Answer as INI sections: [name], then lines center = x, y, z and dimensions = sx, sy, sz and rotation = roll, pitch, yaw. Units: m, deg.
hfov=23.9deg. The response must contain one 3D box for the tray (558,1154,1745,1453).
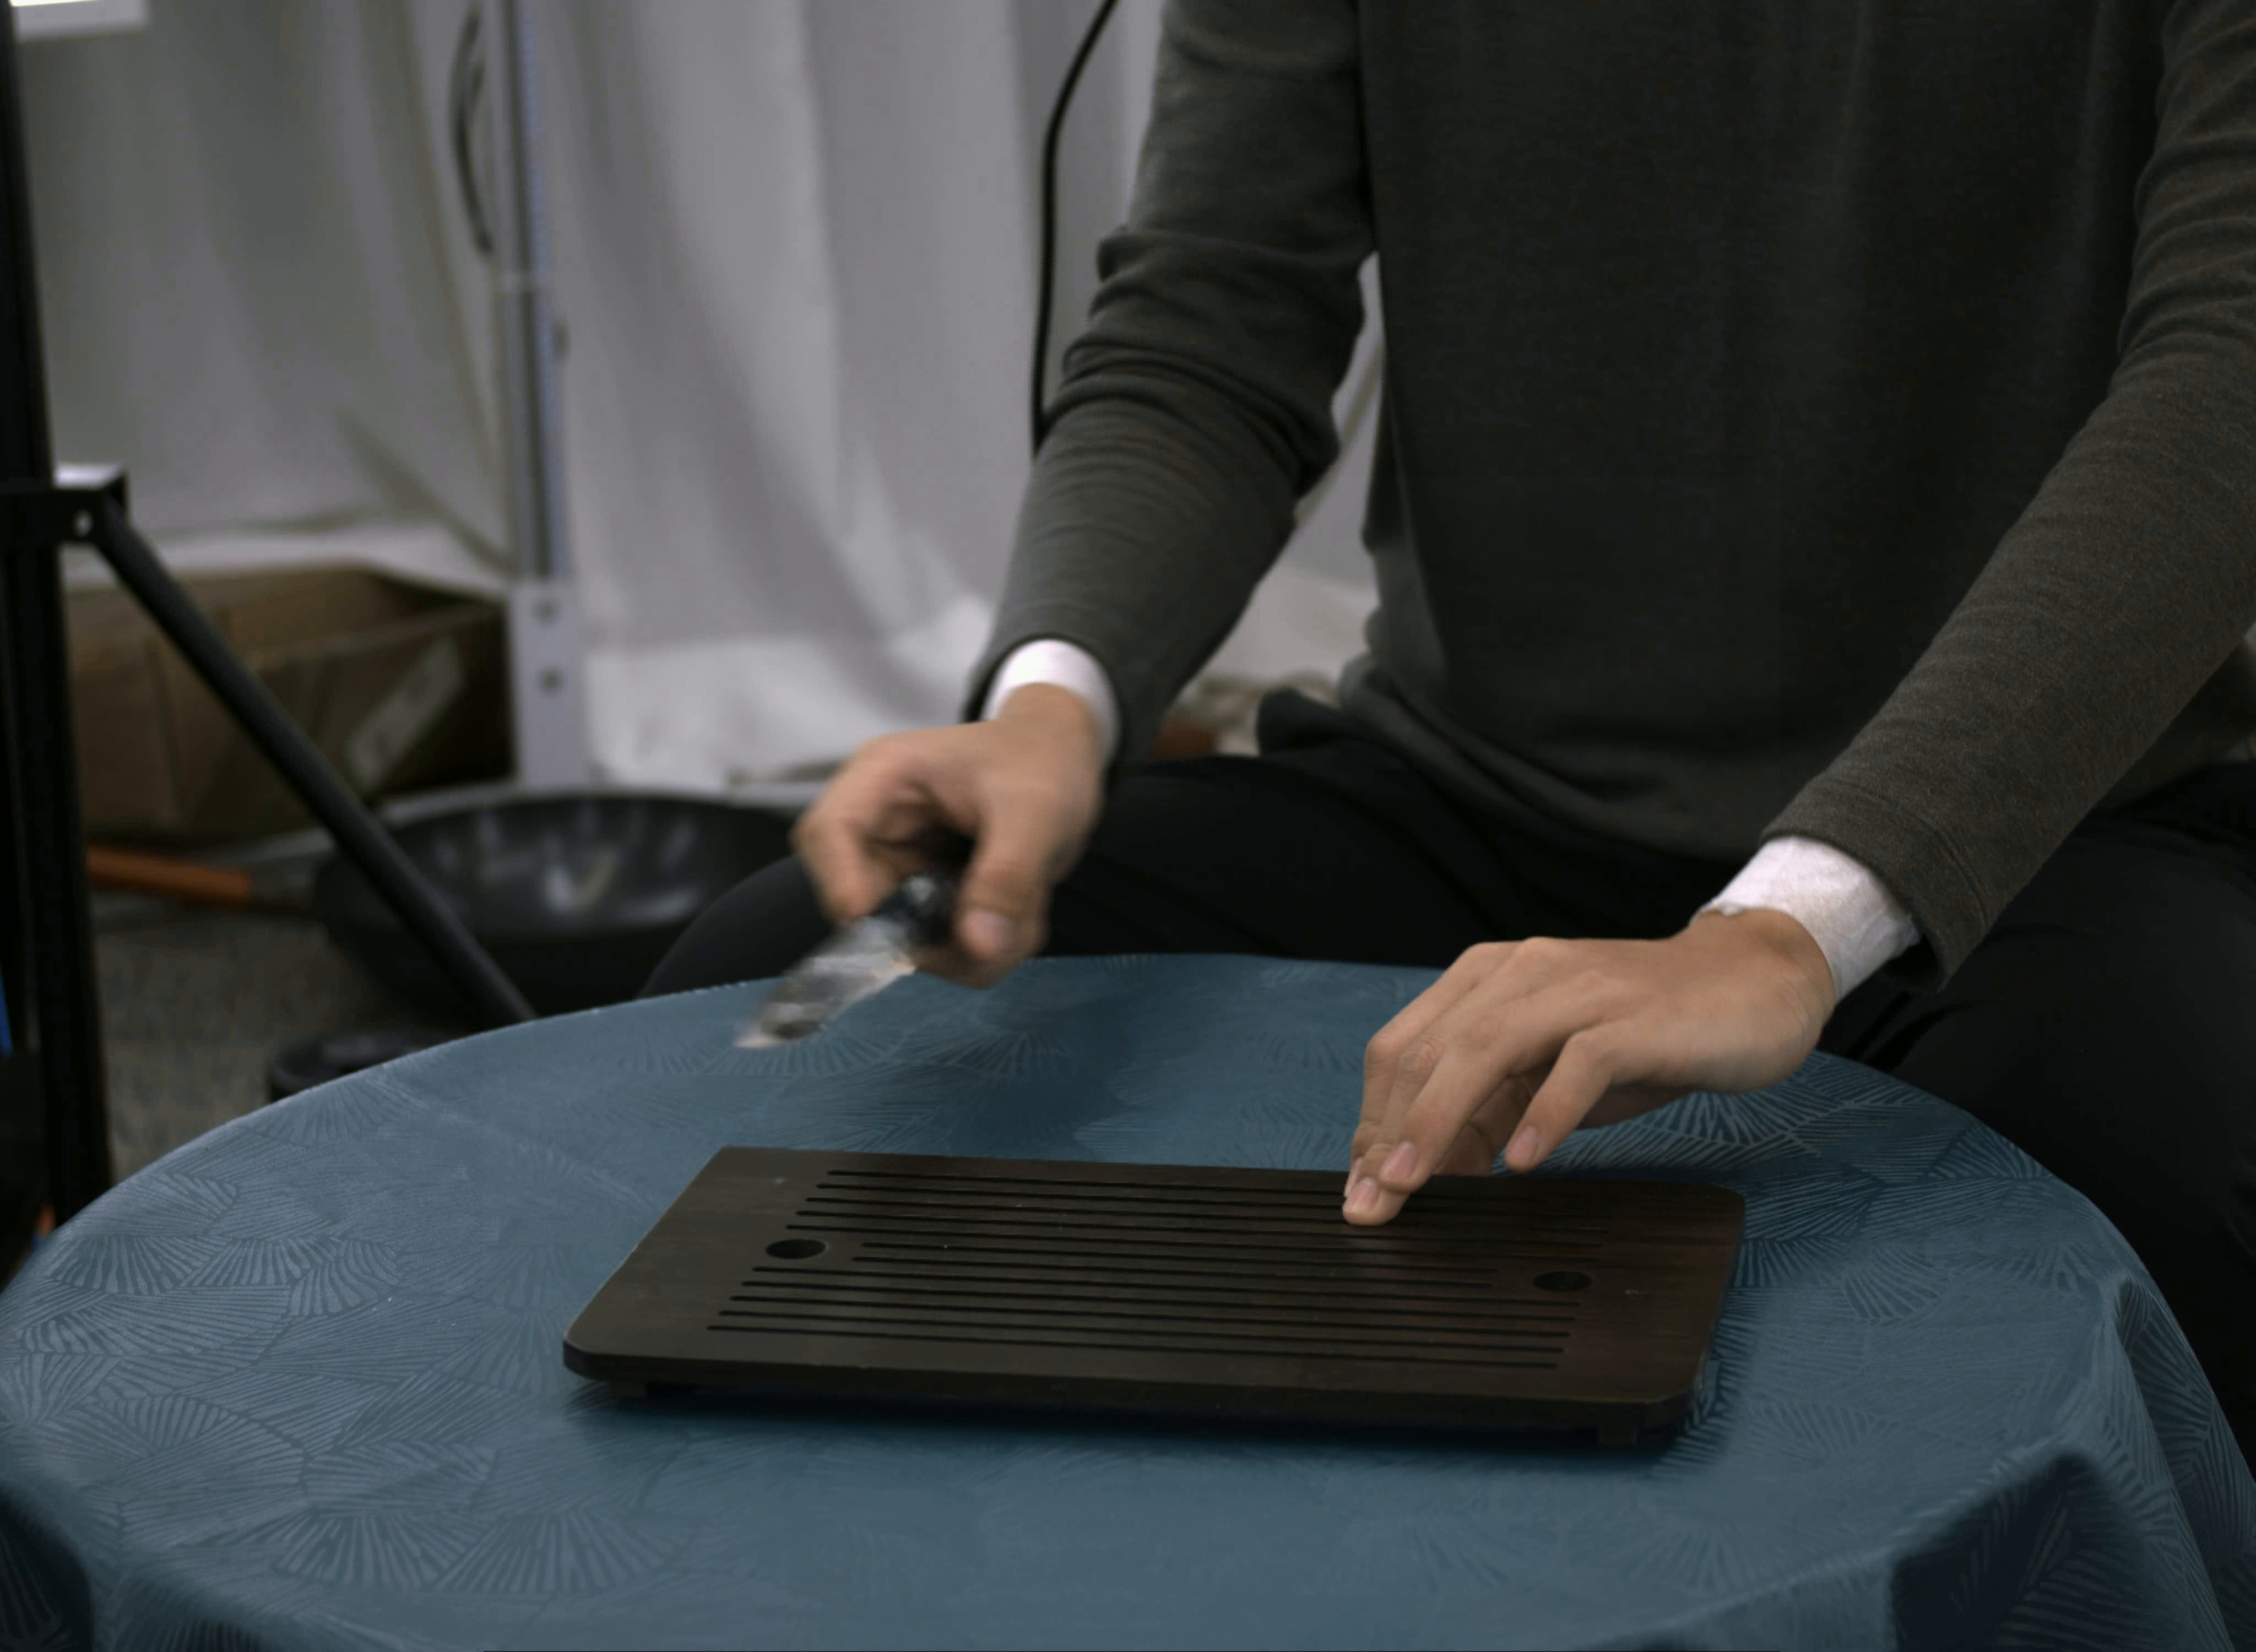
[tray]
center = 0.011, 0.129, 1.453
dimensions = 0.308, 0.018, 0.169
rotation = 2, 16, 14

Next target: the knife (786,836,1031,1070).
[knife]
center = -0.067, 0.037, 1.574
dimensions = 0.024, 0.016, 0.236
rotation = 34, 19, 4
